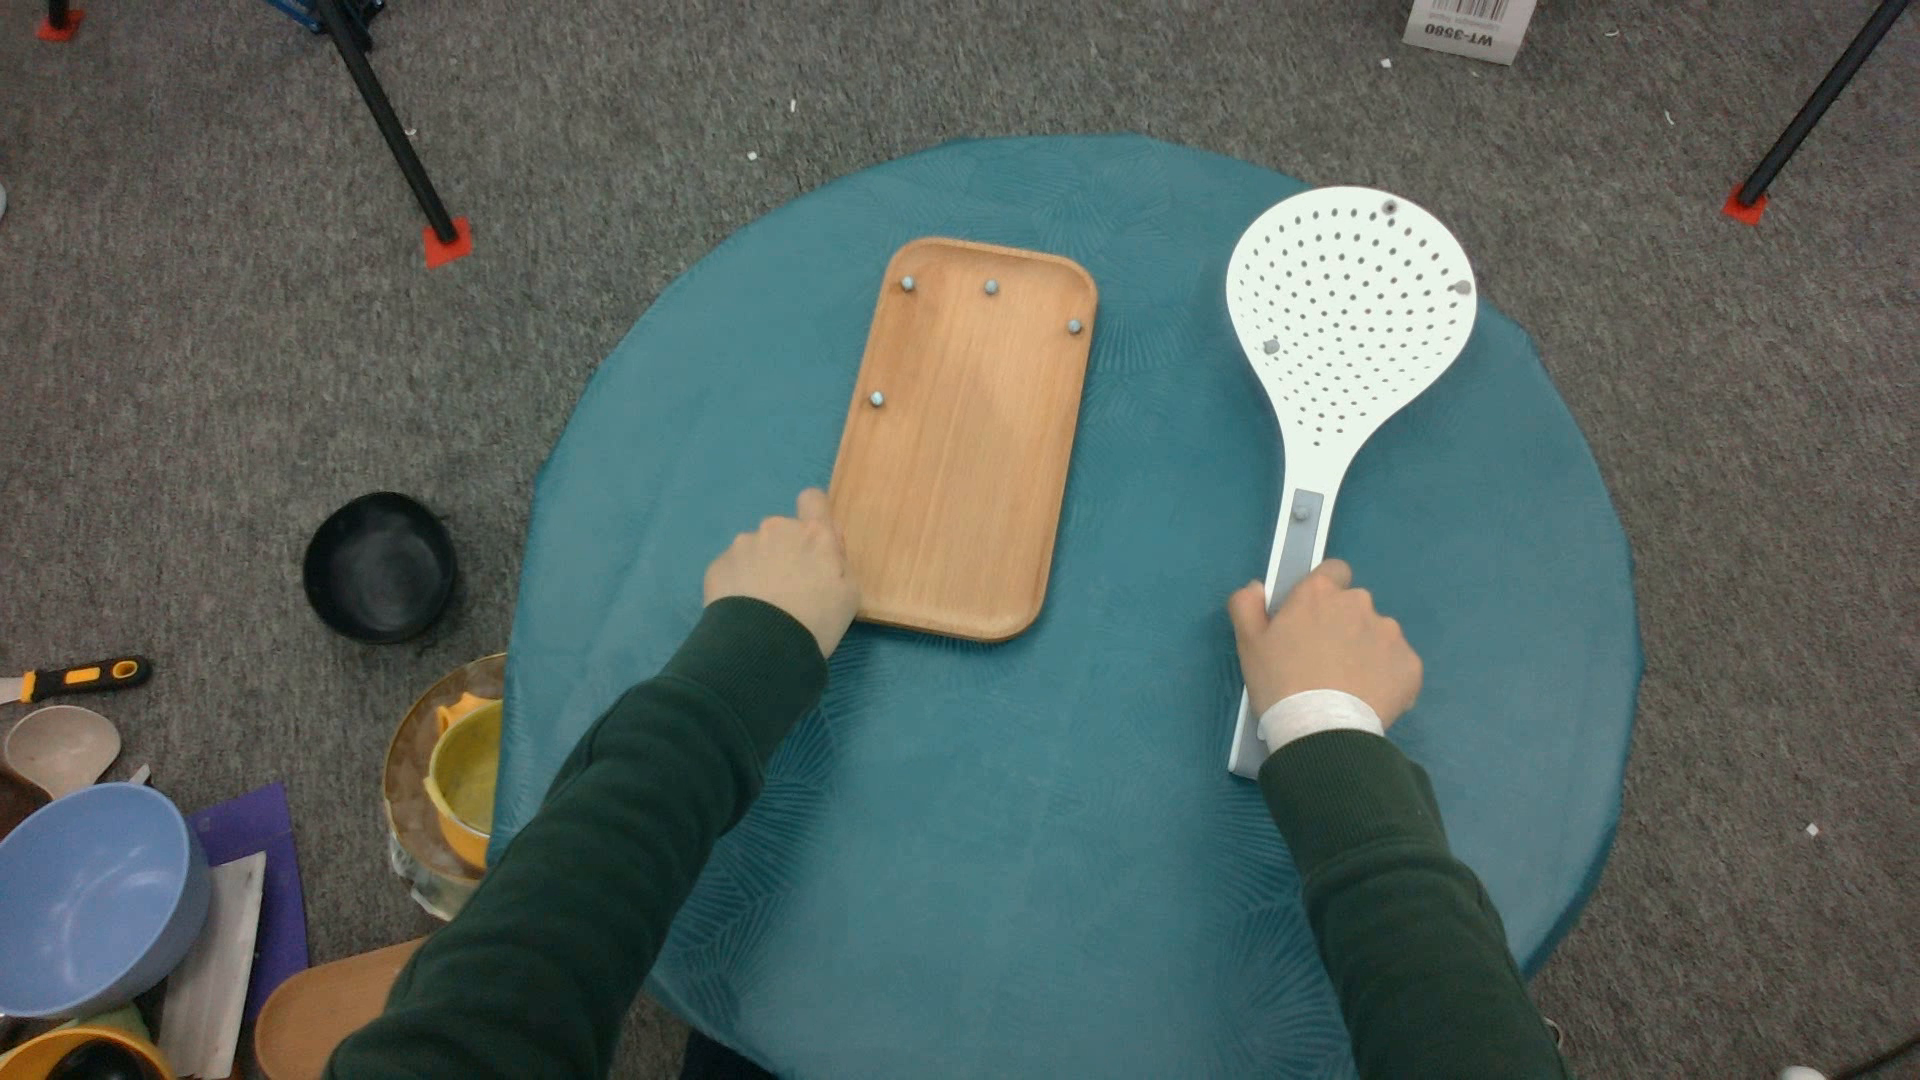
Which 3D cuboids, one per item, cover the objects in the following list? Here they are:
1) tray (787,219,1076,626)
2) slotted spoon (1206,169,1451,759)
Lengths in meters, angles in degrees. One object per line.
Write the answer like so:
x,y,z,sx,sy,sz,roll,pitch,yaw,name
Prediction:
-0.012,-0.072,0.773,0.130,0.023,0.251,9,65,6,tray
0.181,-0.051,0.747,0.136,0.045,0.351,13,66,8,slotted spoon
